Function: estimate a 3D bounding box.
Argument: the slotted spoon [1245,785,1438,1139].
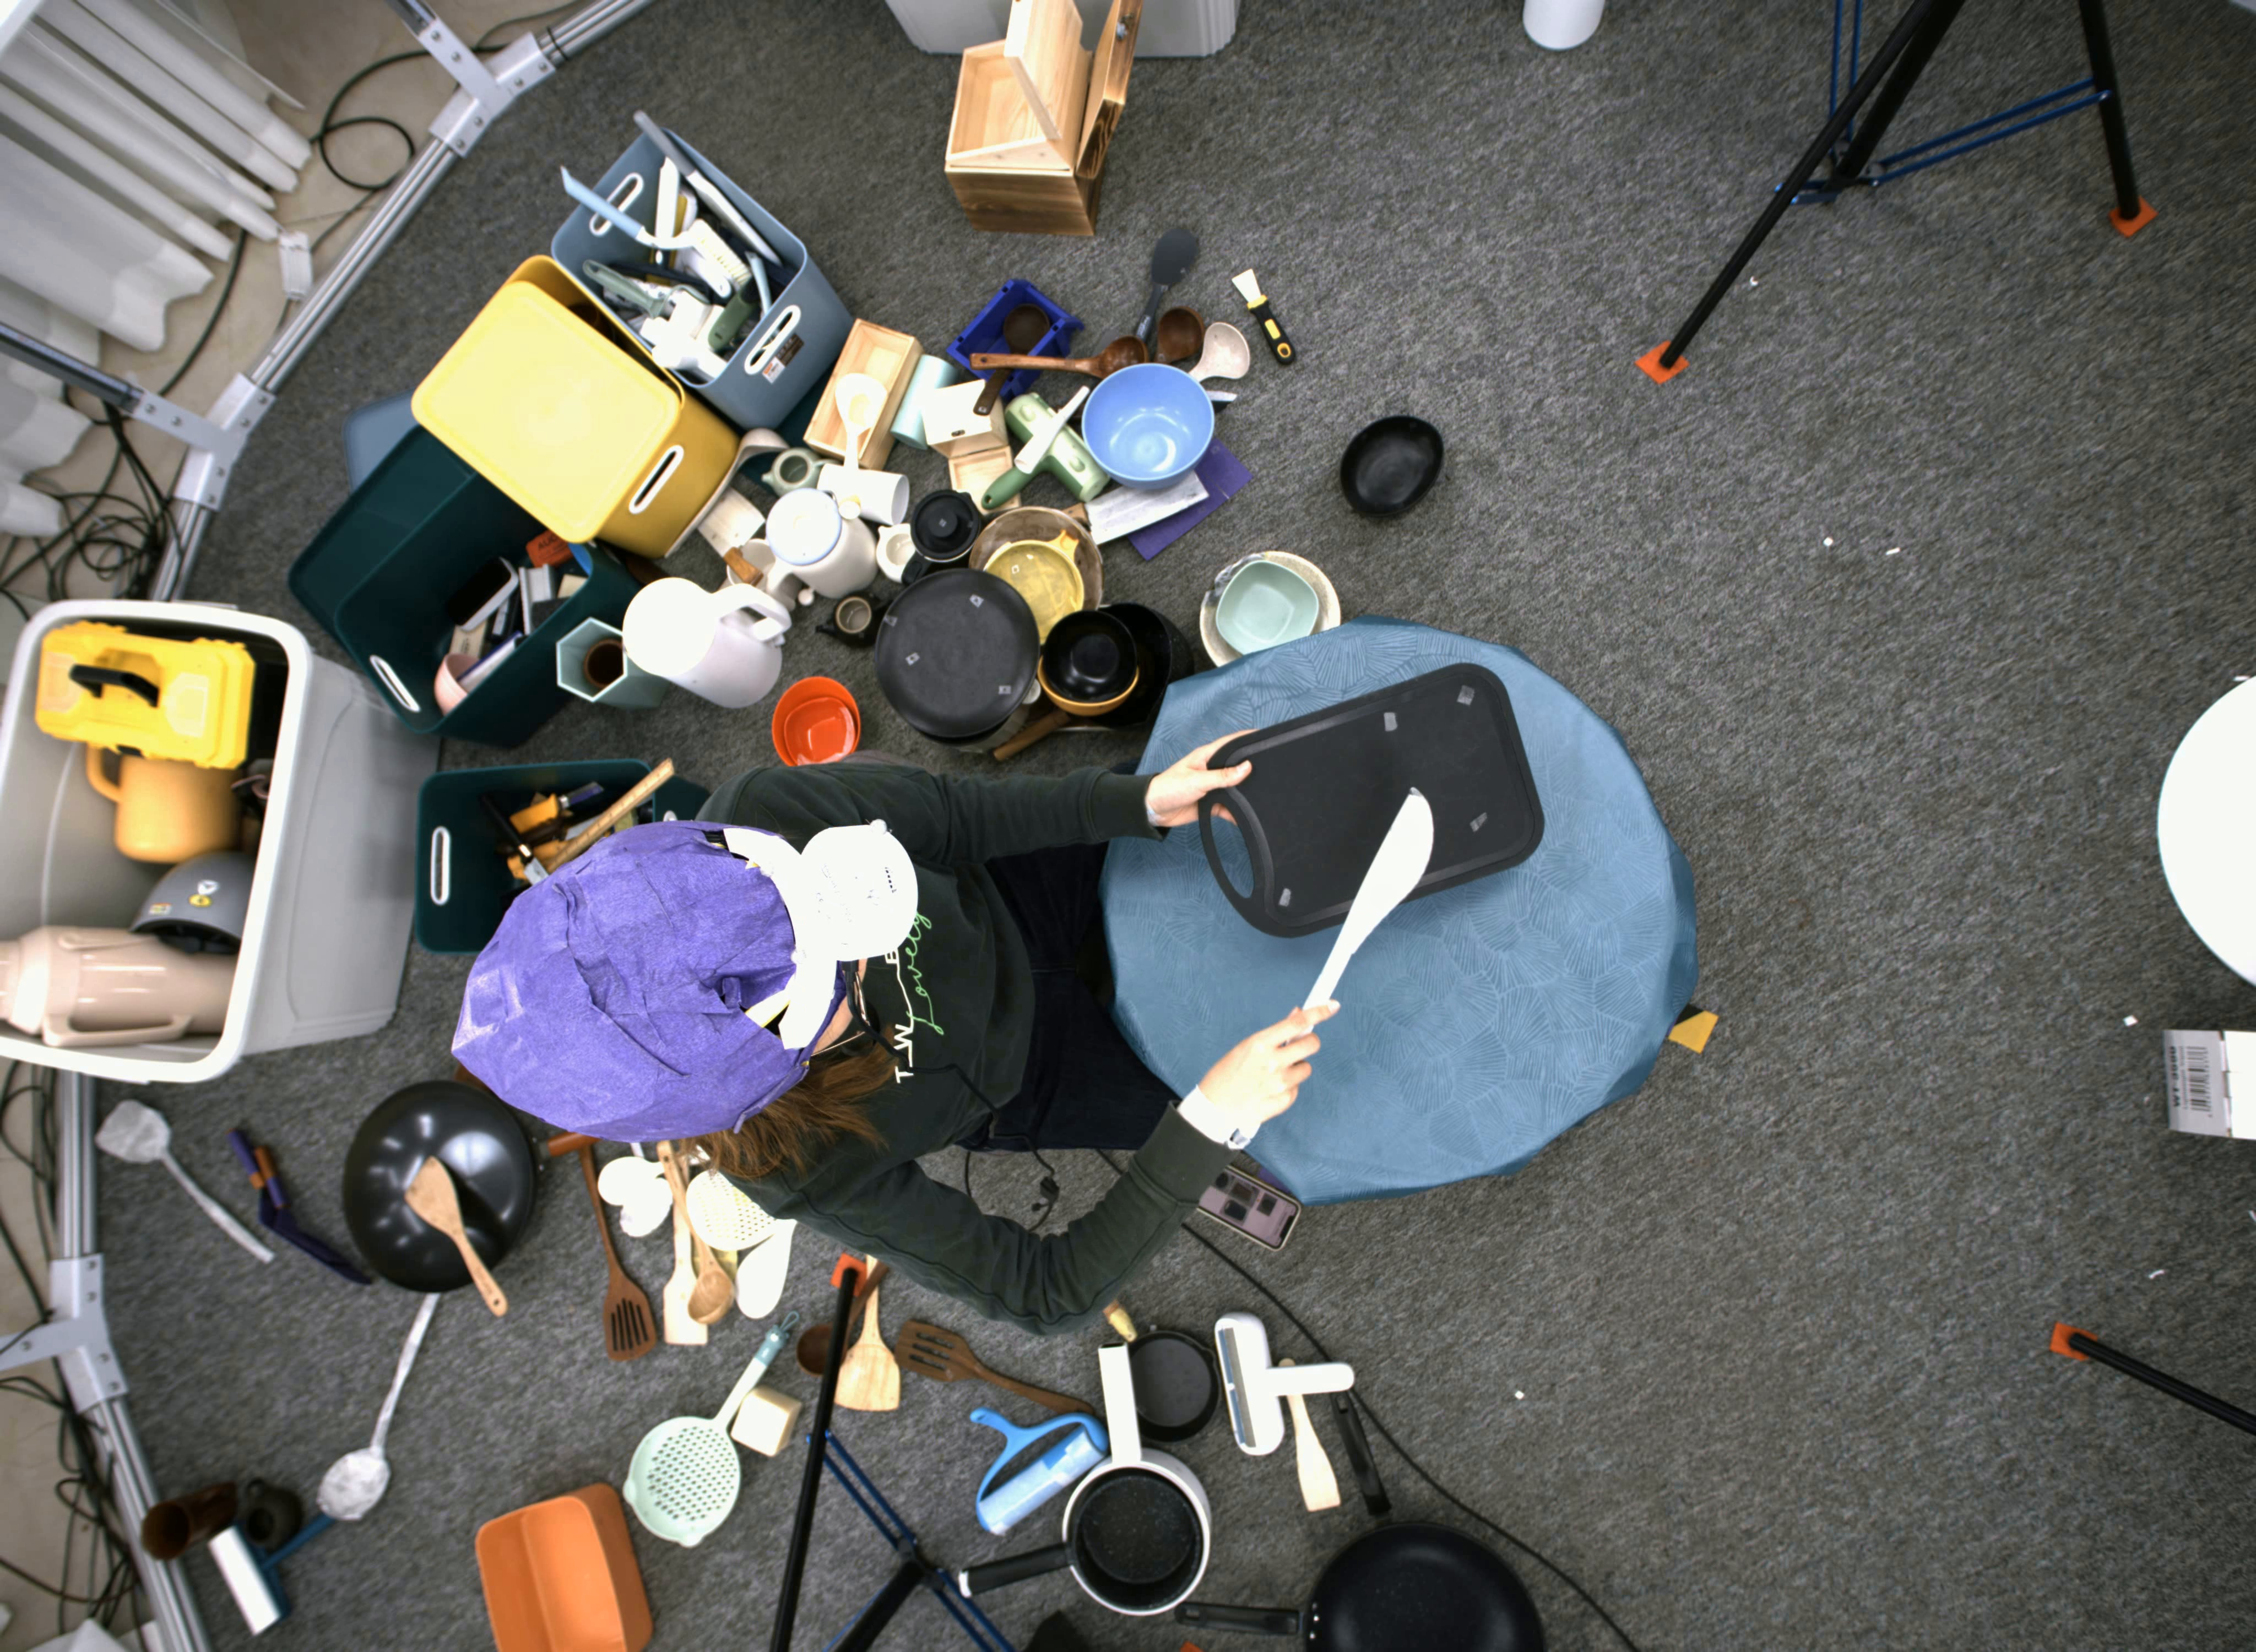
[{"bbox_3d":[0.191,0.123,1.240,0.045,0.136,0.350,32,93,8],"label":"slotted spoon"}]

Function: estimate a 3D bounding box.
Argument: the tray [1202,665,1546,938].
[{"bbox_3d":[0.235,-0.019,1.344,0.327,0.009,0.212,-18,100,6],"label":"tray"}]
